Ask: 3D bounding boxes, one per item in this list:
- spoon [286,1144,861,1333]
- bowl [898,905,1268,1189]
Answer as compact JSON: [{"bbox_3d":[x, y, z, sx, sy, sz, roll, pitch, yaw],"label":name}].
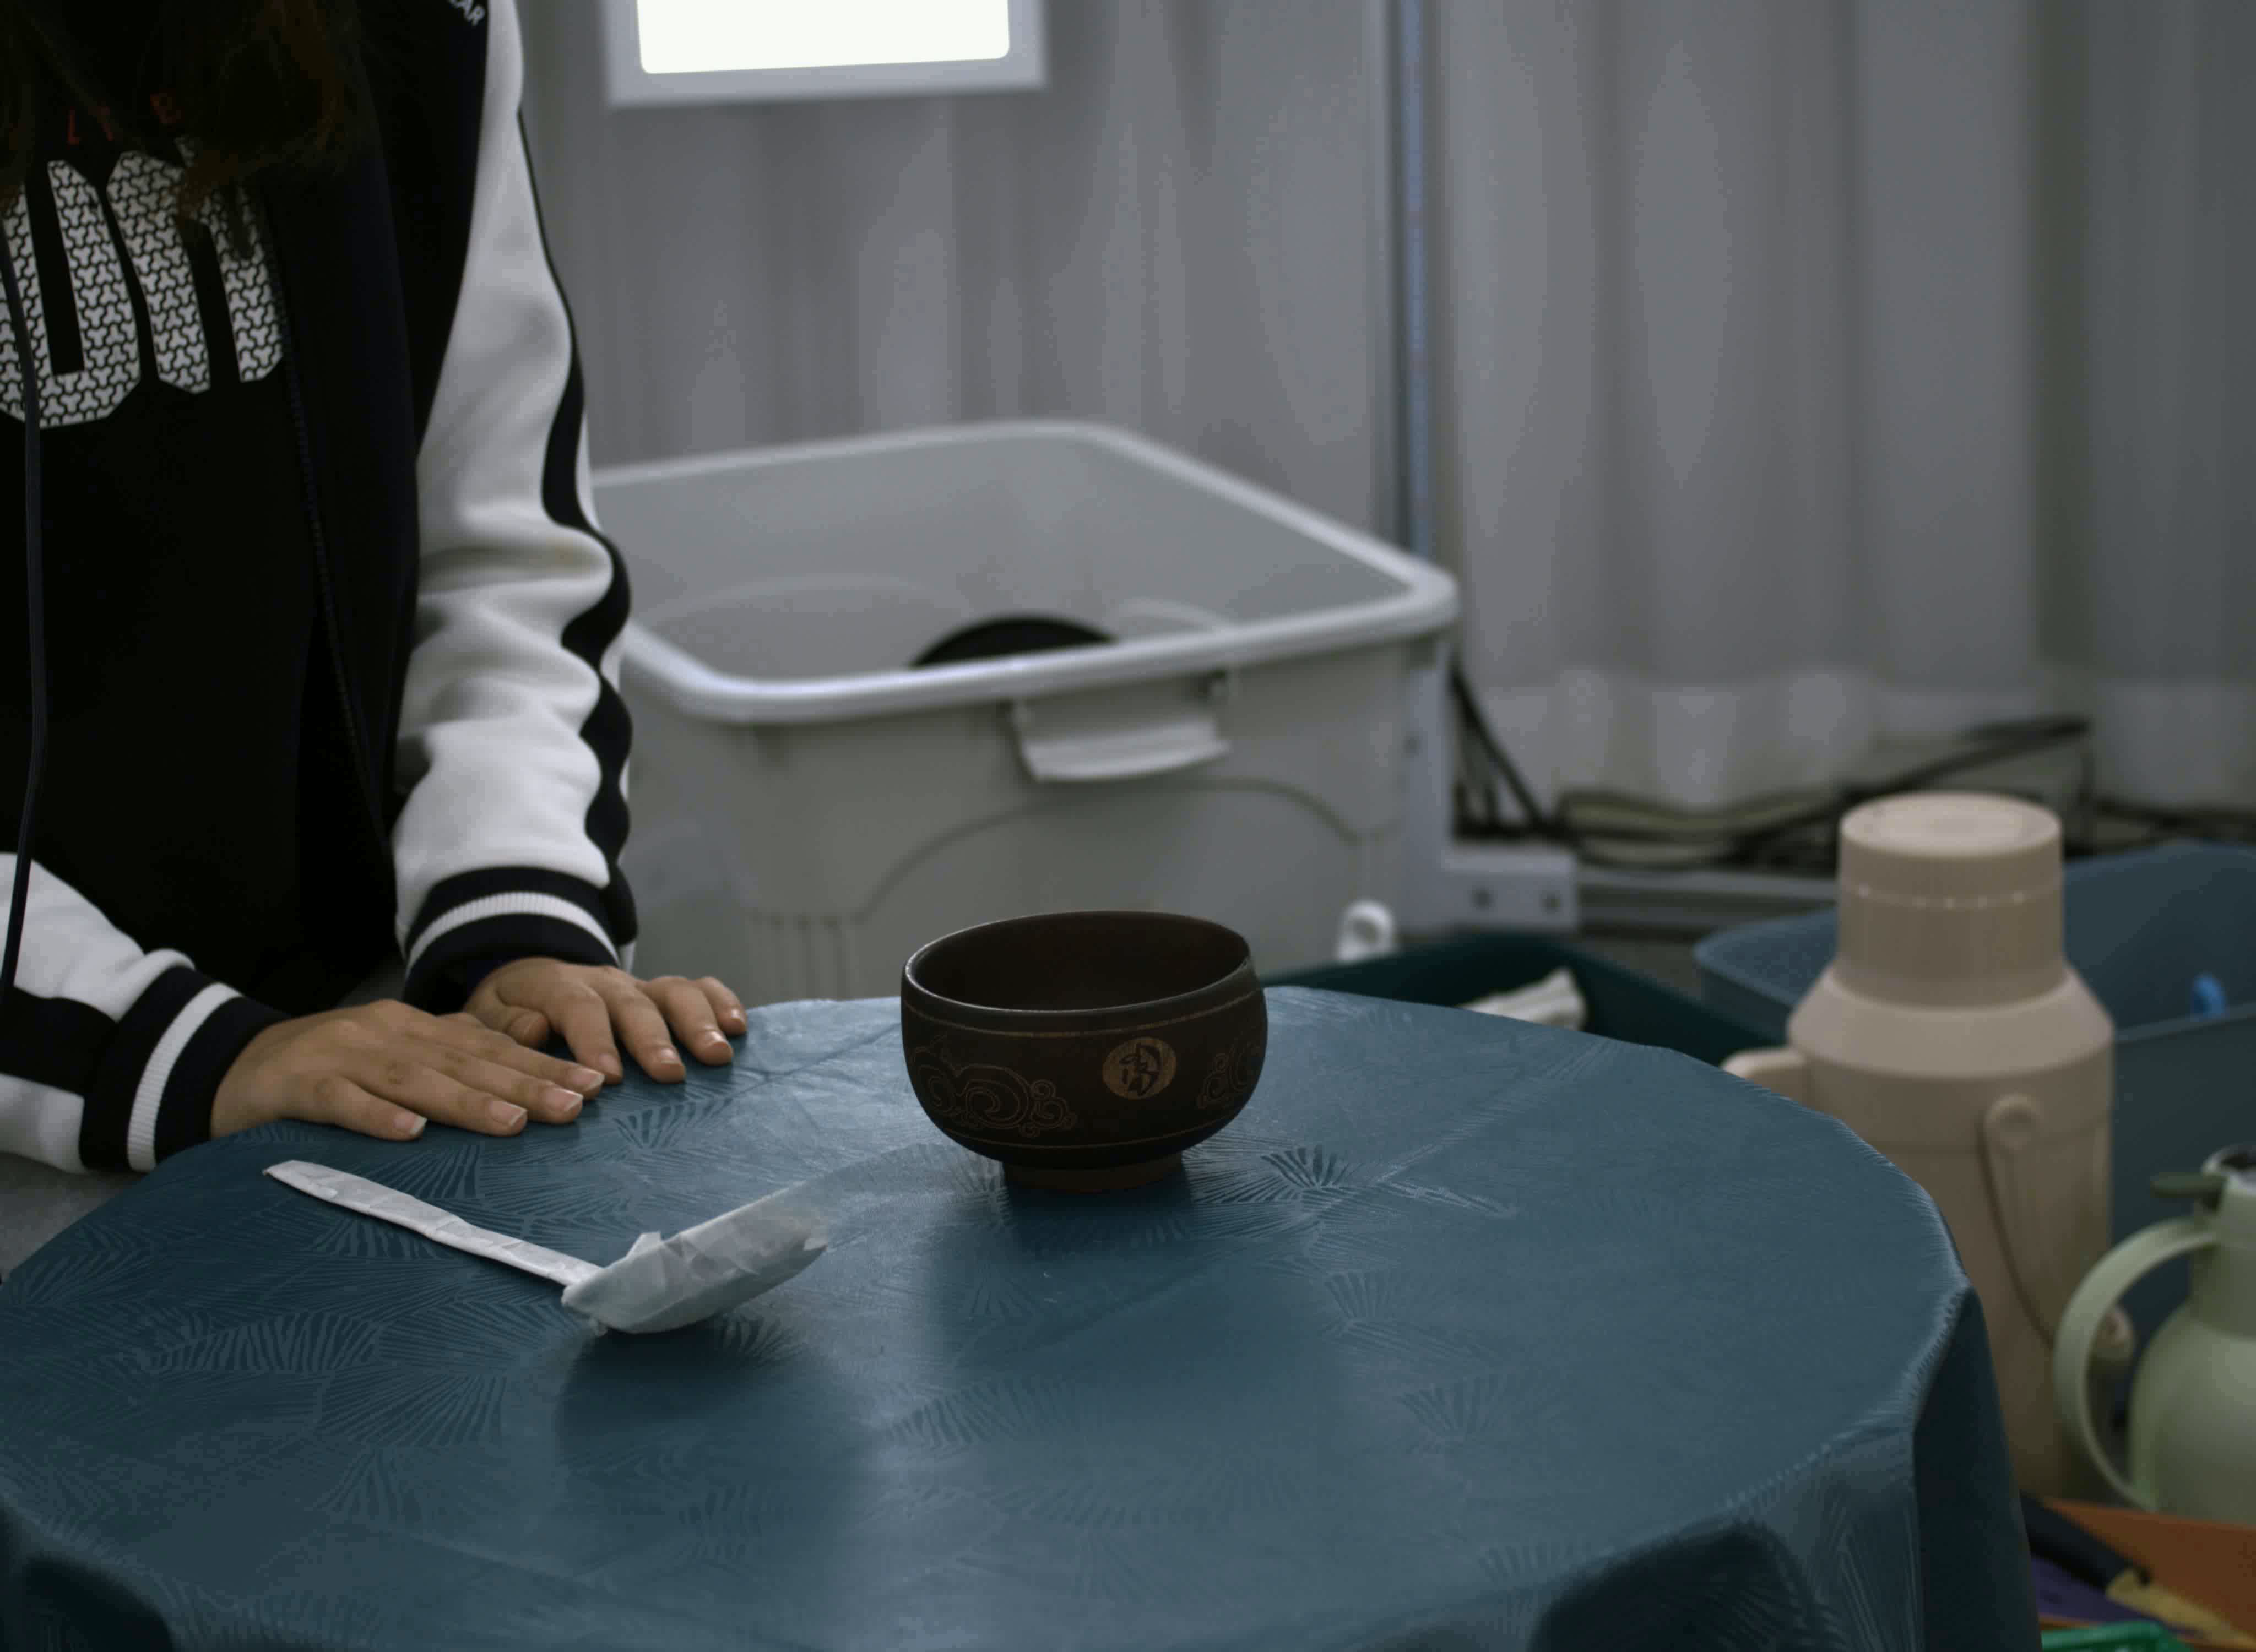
[{"bbox_3d":[-0.181,0.106,1.673,0.100,0.059,0.279,-11,17,-37],"label":"spoon"},{"bbox_3d":[-0.013,0.073,1.731,0.117,0.069,0.119,-3,14,0],"label":"bowl"}]
